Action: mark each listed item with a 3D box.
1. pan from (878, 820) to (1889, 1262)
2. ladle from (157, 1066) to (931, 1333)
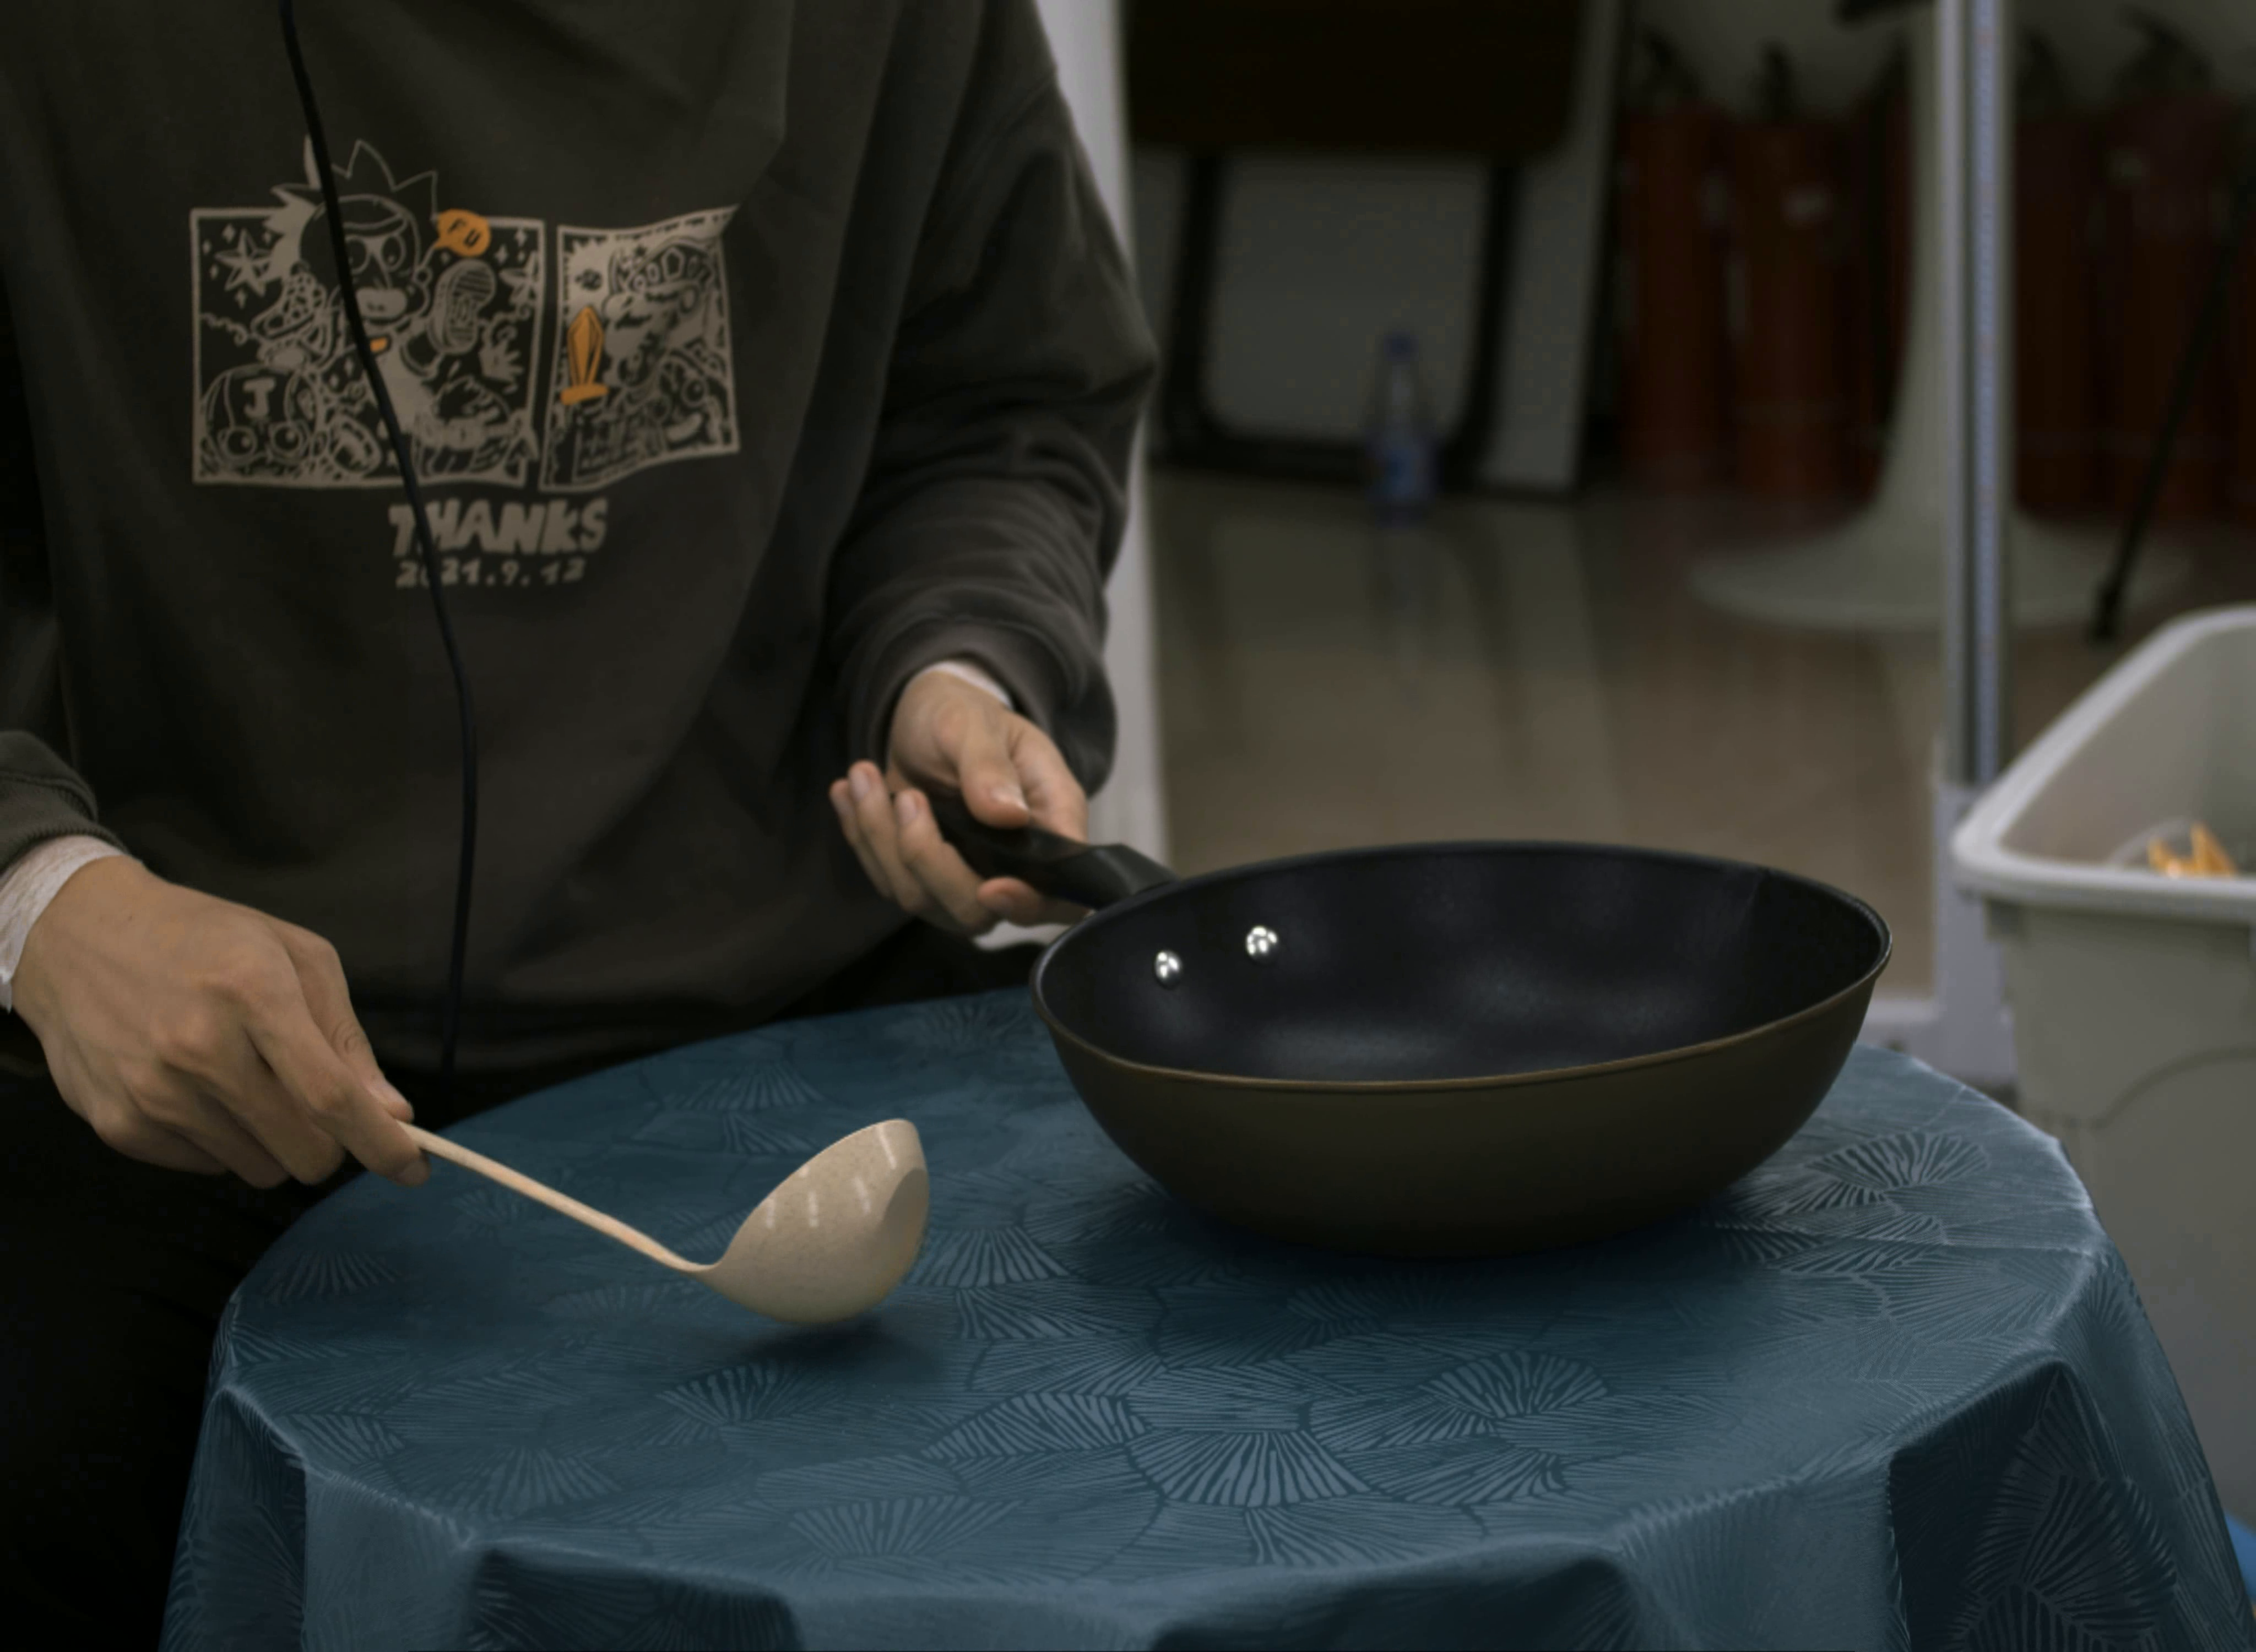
[{"bbox_3d":[0.052,0.067,1.812,0.282,0.088,0.468,-14,16,-35],"label":"pan"},{"bbox_3d":[-0.179,0.087,1.673,0.254,0.073,0.071,20,-7,19],"label":"ladle"}]
